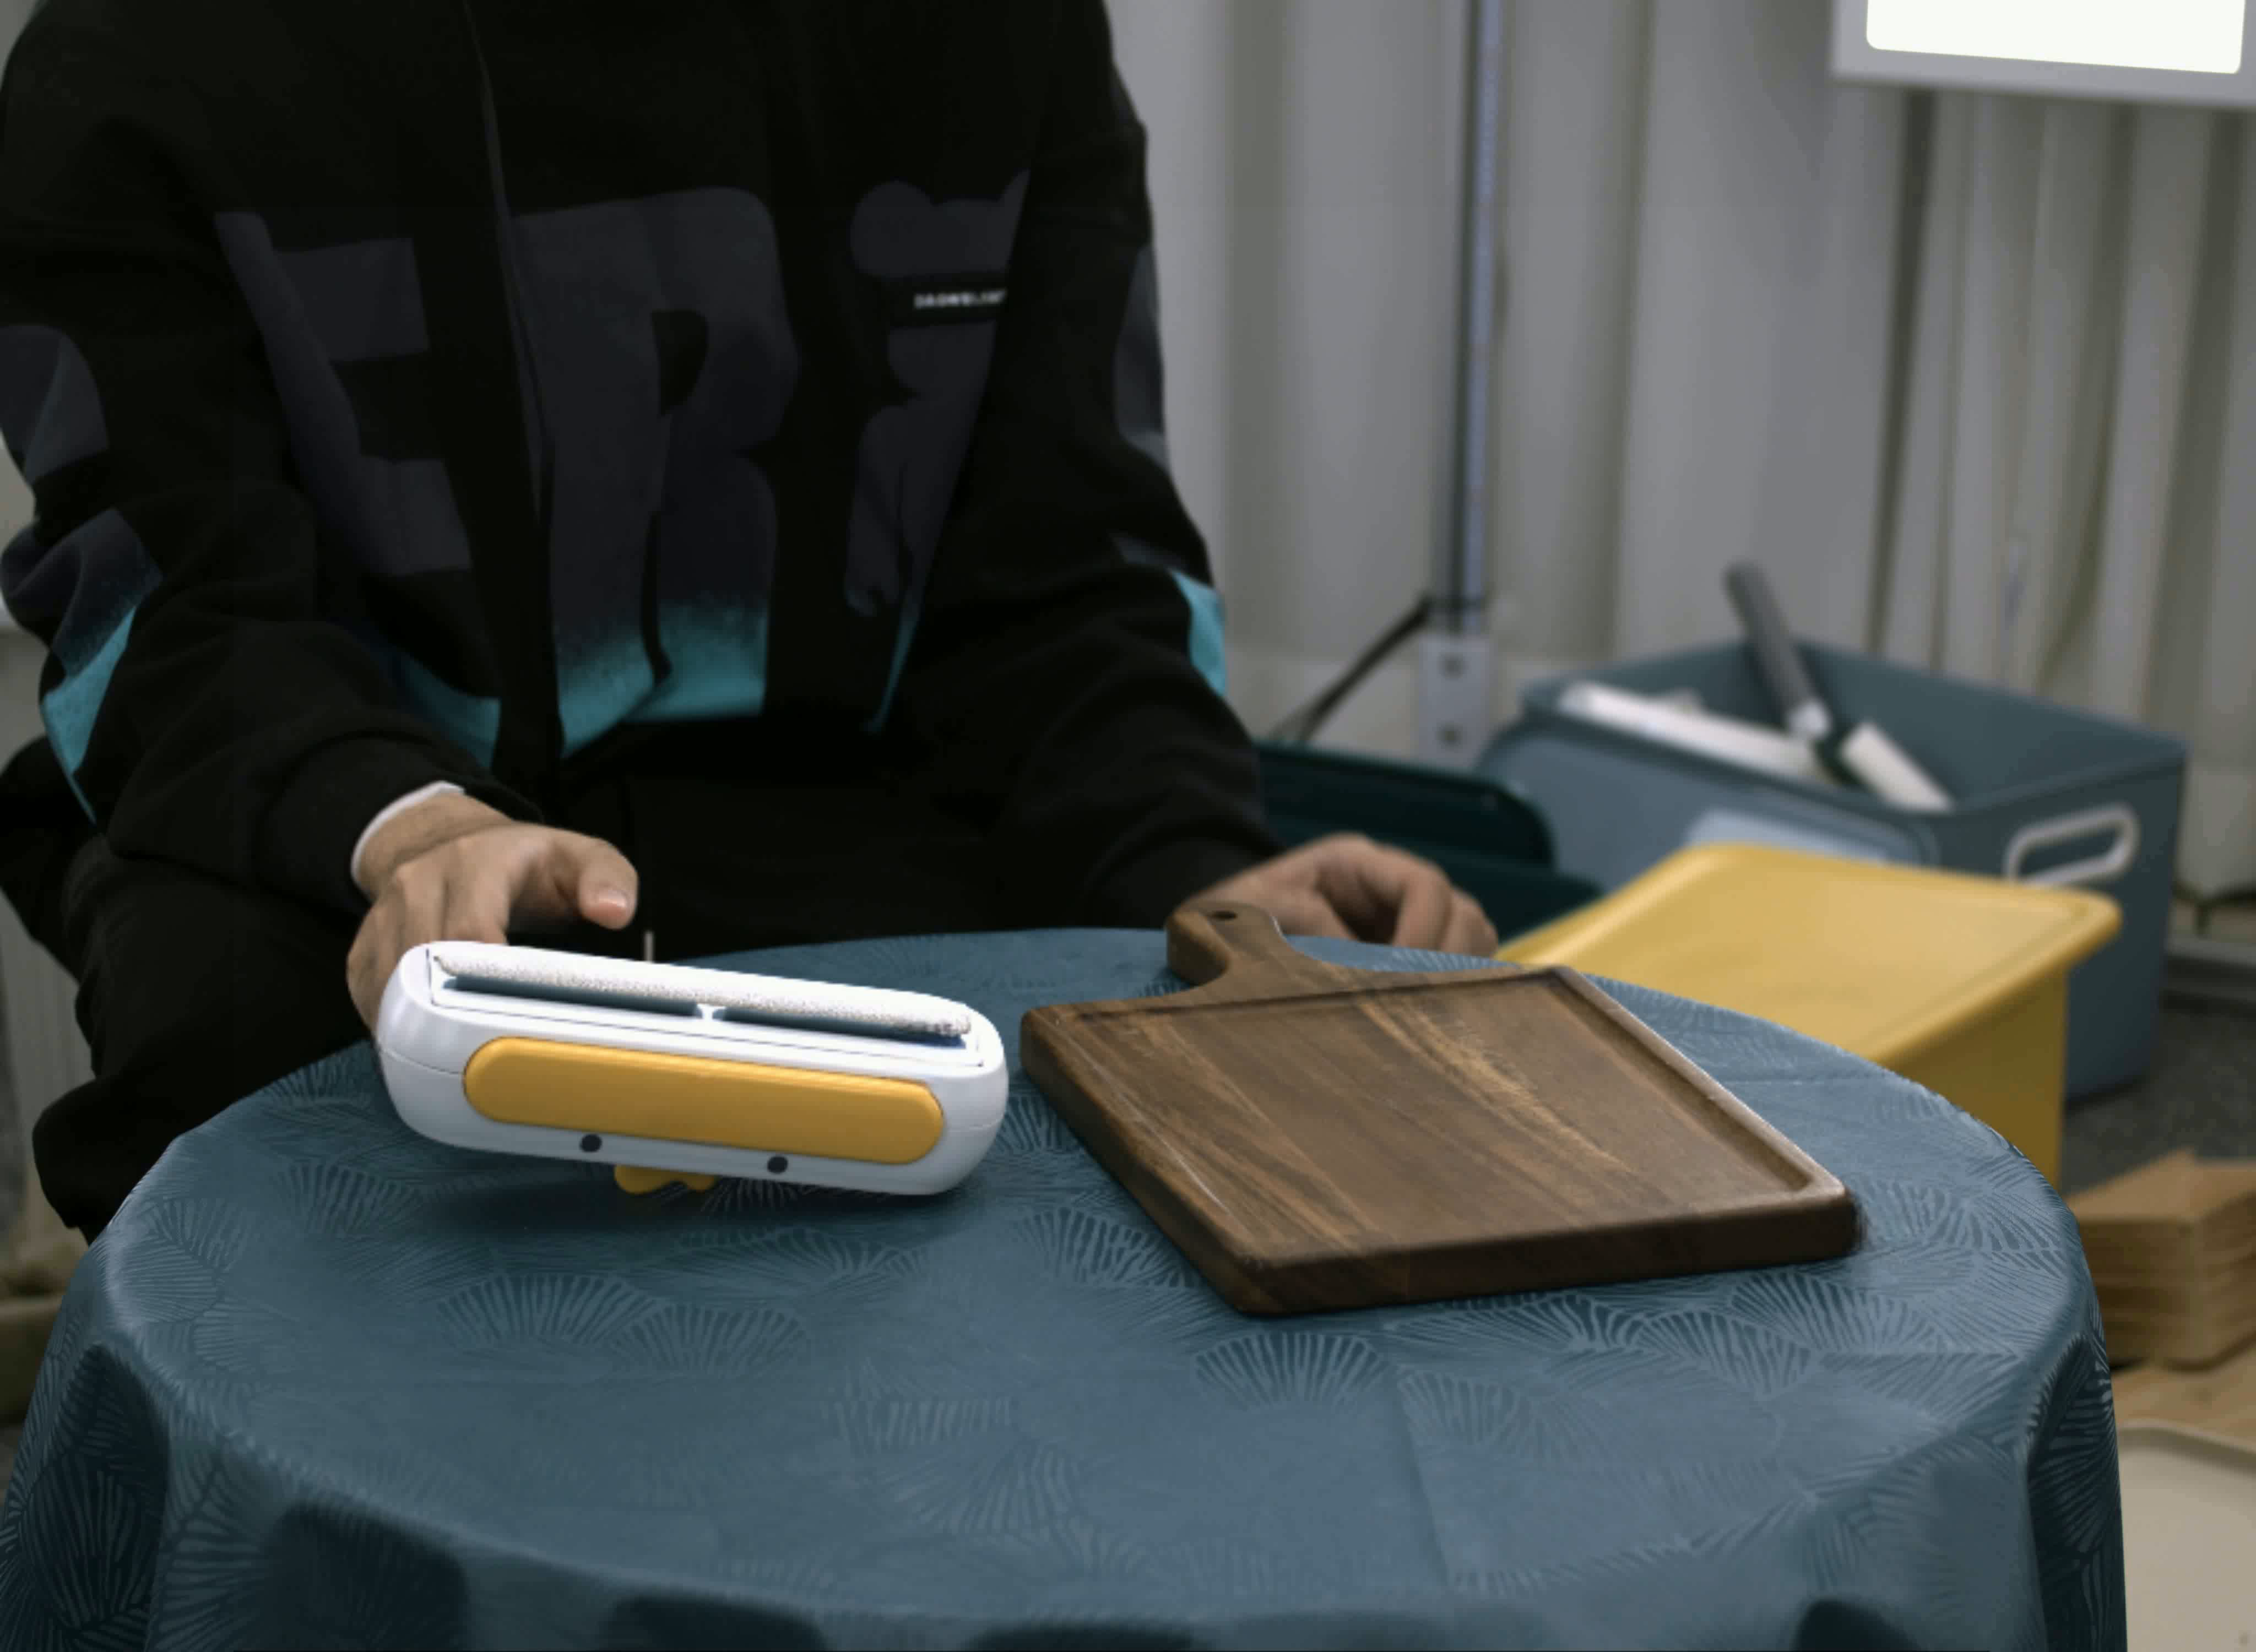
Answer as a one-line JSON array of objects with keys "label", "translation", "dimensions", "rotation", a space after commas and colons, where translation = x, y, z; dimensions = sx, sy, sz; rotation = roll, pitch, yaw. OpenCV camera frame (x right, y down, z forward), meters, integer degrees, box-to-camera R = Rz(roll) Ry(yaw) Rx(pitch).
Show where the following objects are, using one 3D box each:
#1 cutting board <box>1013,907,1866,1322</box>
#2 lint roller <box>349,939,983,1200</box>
[{"label": "cutting board", "translation": [0.077, 0.082, 1.694], "dimensions": [0.201, 0.023, 0.348], "rotation": [-5, 16, -17]}, {"label": "lint roller", "translation": [-0.147, 0.066, 1.656], "dimensions": [0.193, 0.075, 0.191], "rotation": [4, 13, -9]}]
